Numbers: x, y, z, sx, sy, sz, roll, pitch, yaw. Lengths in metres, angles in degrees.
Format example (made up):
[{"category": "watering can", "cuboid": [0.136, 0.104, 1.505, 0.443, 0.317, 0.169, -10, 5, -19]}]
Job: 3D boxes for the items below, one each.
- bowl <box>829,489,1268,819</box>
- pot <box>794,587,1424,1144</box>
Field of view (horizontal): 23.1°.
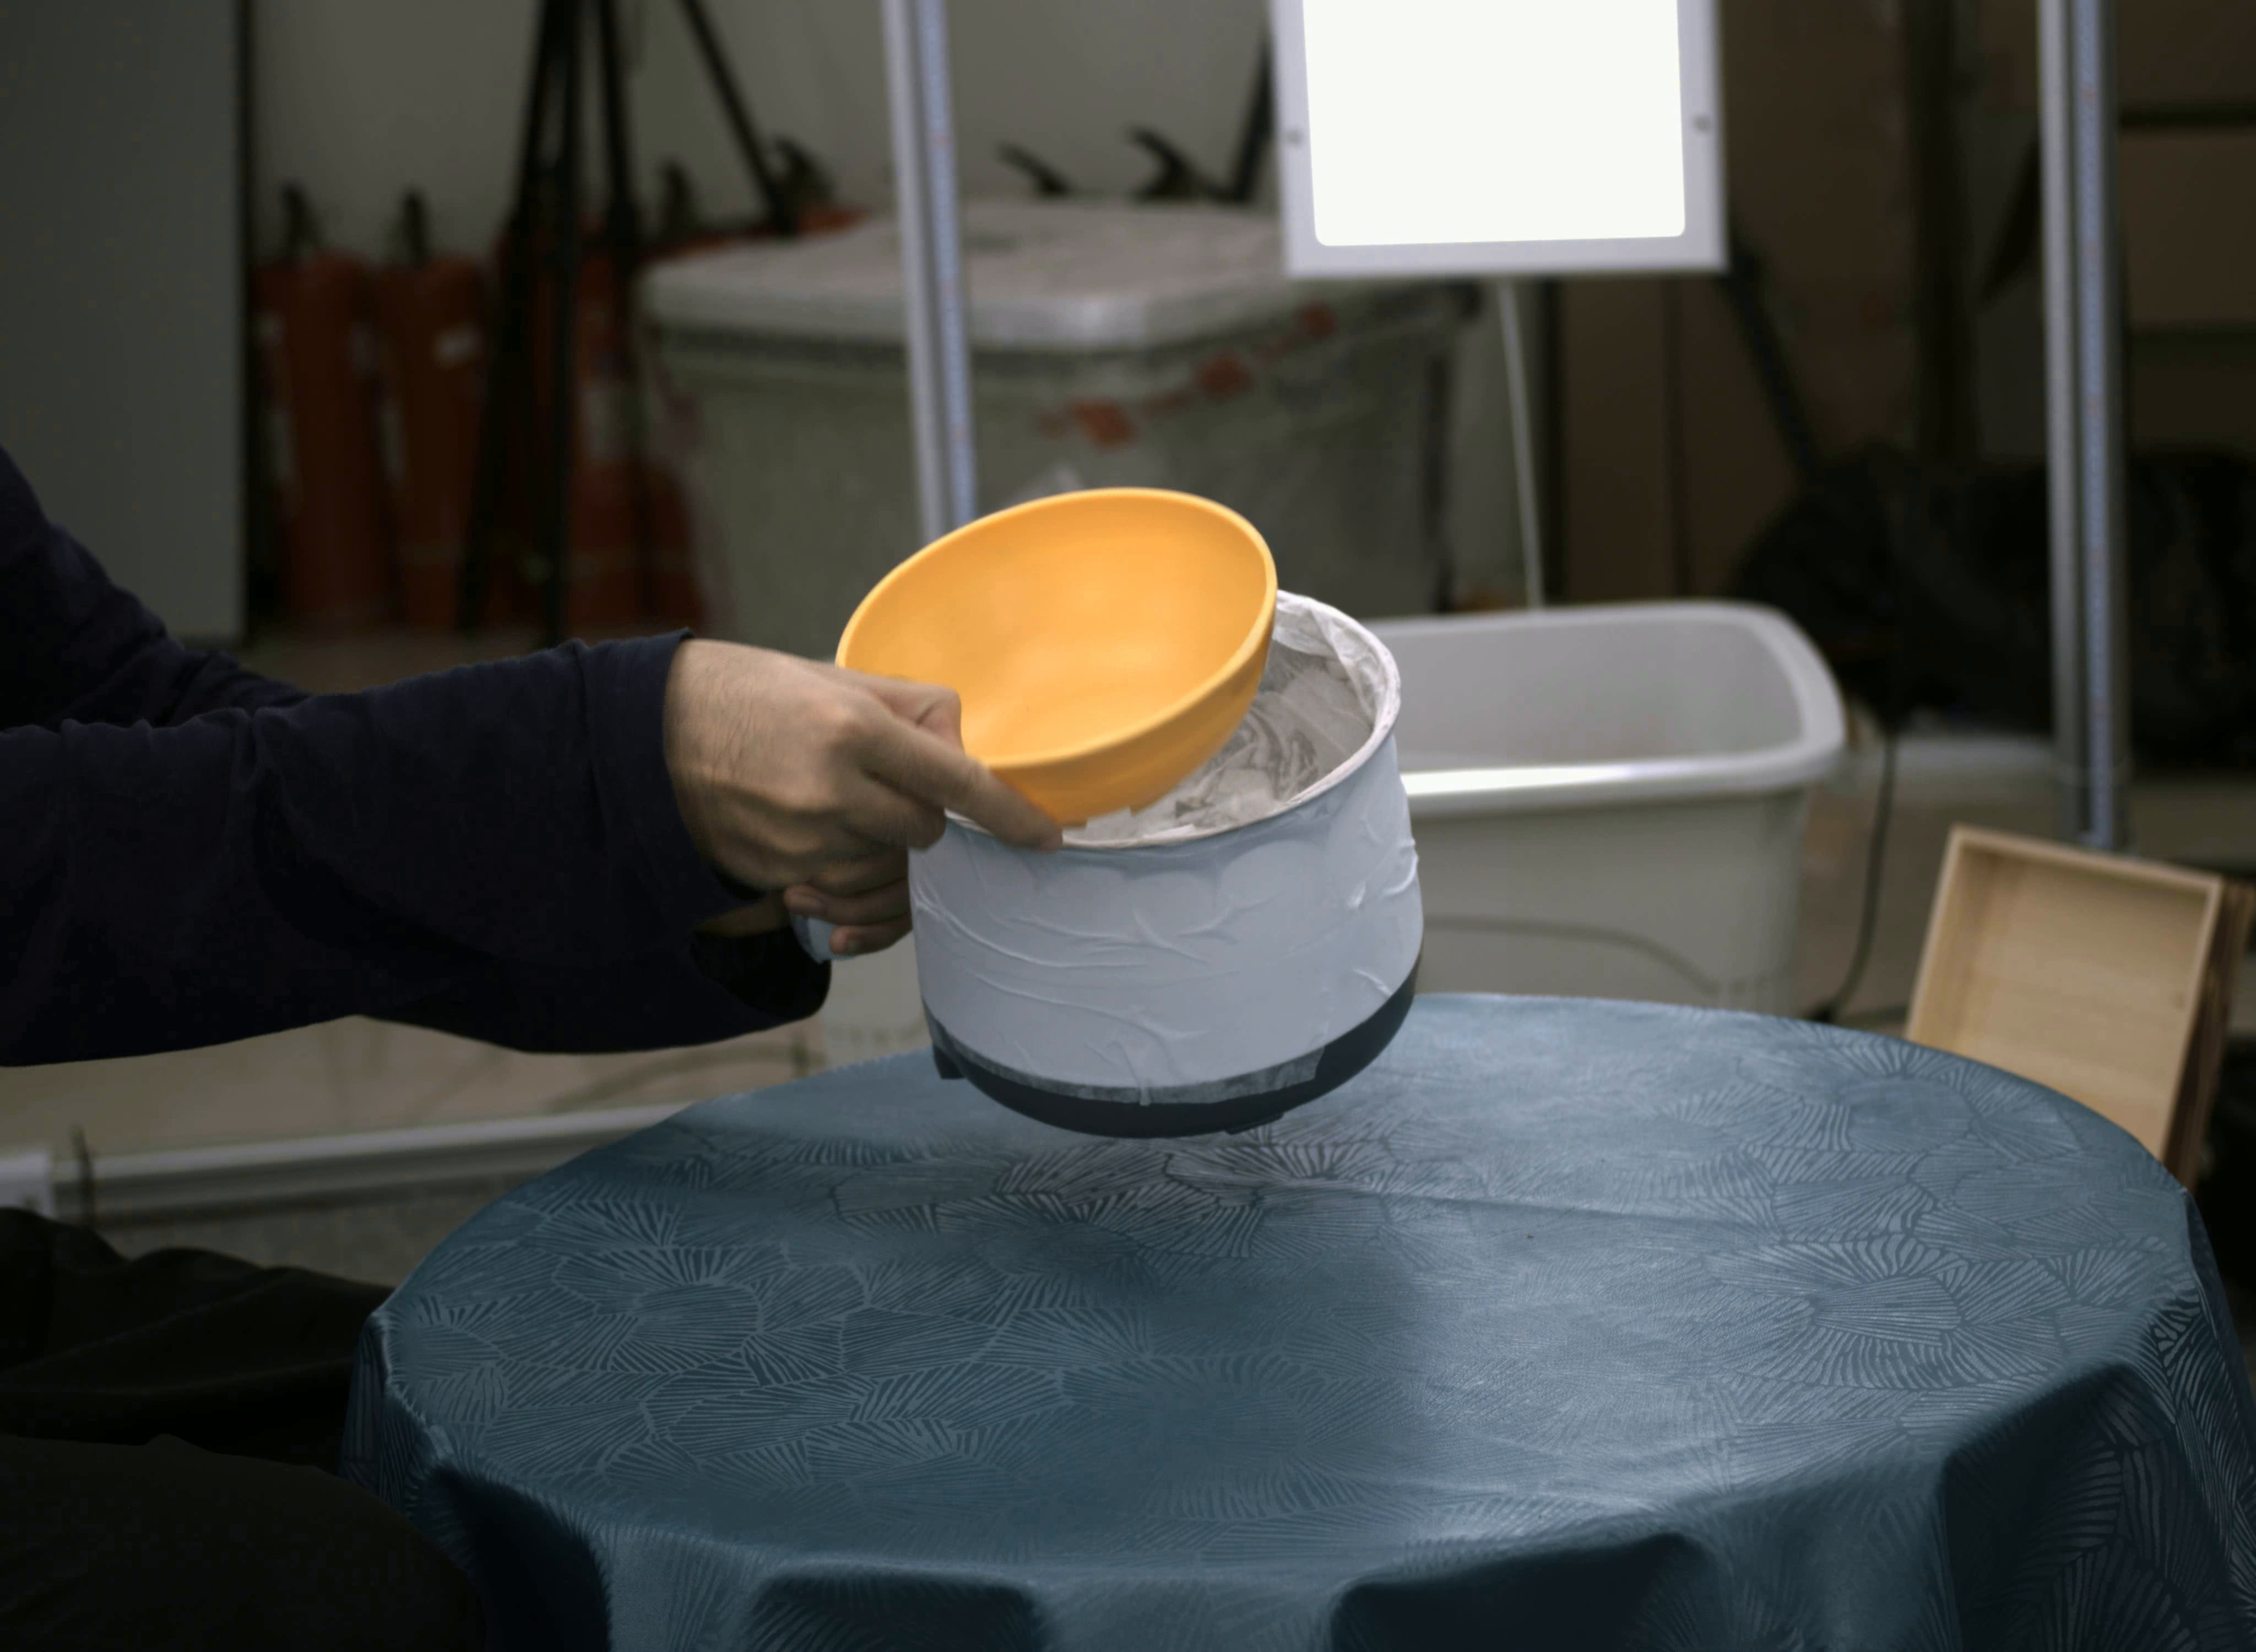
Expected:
[{"category": "bowl", "cuboid": [-0.019, -0.045, 1.753, 0.146, 0.060, 0.145, -13, 33, 7]}, {"category": "pot", "cuboid": [-0.014, 0.012, 1.910, 0.237, 0.137, 0.175, 5, 34, 25]}]
